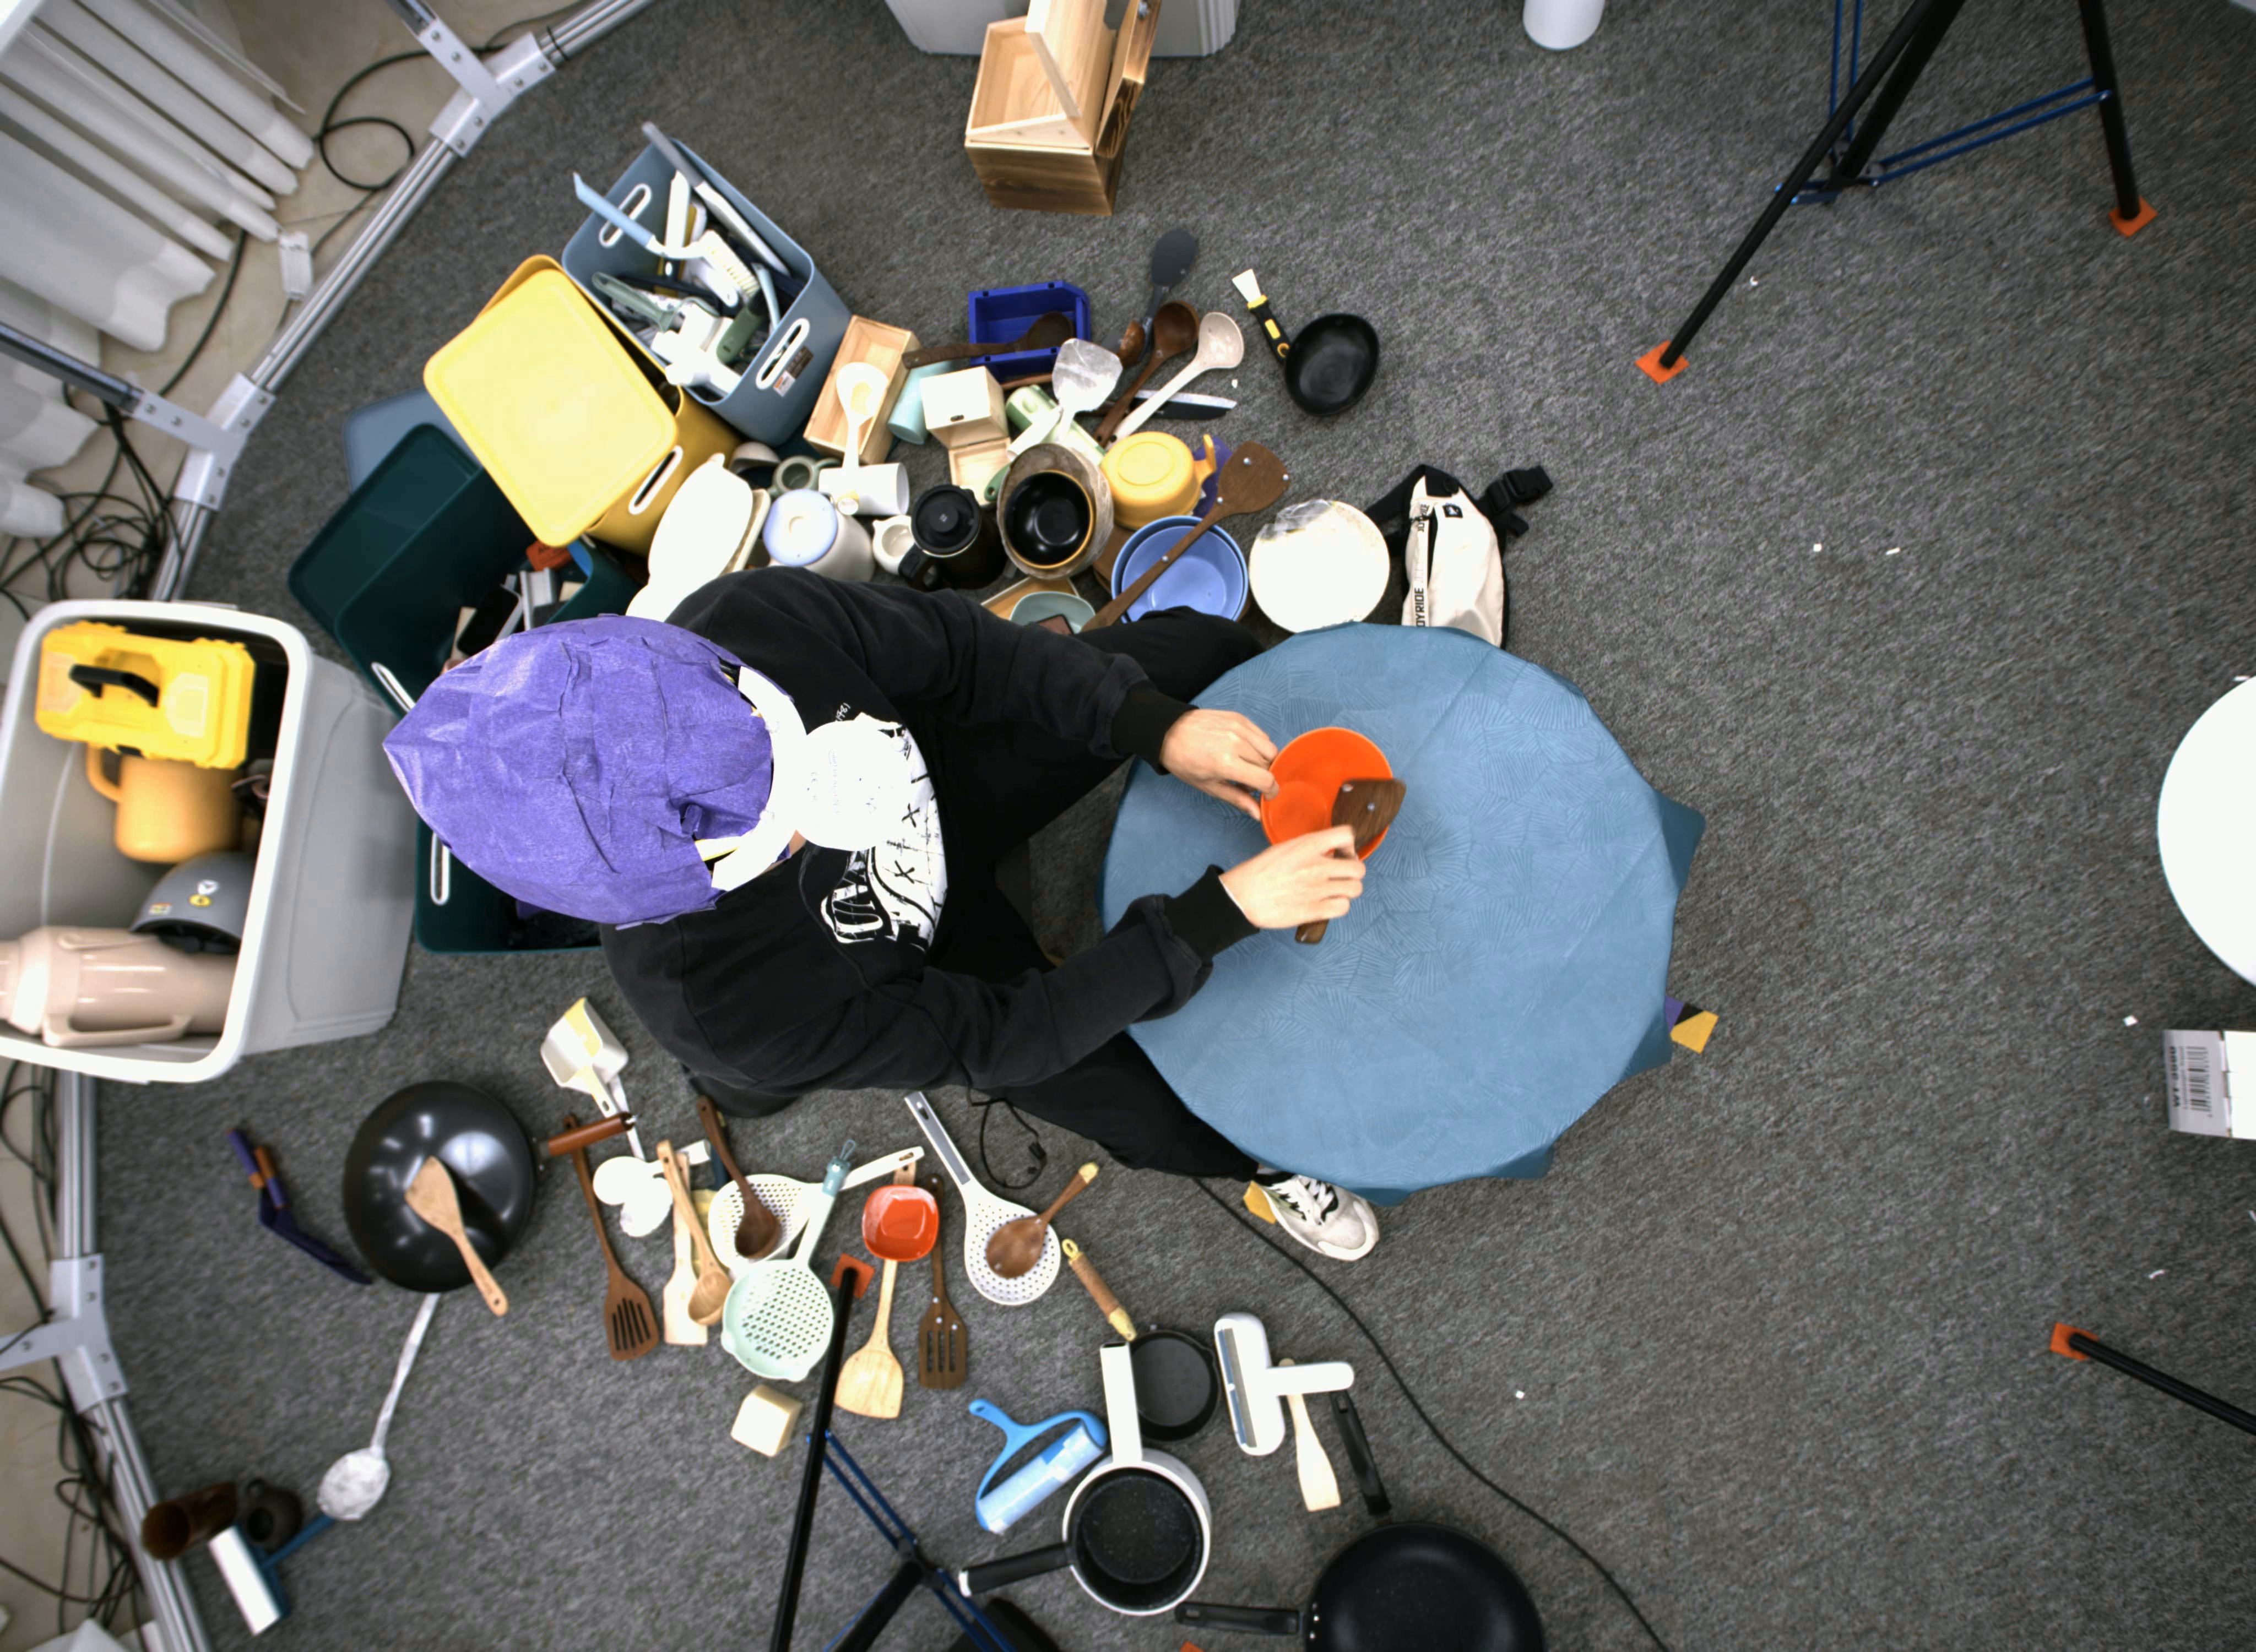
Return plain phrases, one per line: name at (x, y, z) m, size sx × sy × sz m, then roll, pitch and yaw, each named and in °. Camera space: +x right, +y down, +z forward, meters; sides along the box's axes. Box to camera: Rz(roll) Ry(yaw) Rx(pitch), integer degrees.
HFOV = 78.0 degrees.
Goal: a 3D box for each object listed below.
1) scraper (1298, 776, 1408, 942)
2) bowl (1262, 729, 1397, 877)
scraper at (0.213, 0.030, 1.360) m, size 0.076 × 0.011 × 0.206 m, roll 4°, pitch 52°, yaw 37°
bowl at (0.194, -0.022, 1.424) m, size 0.147 × 0.105 × 0.148 m, roll 0°, pitch 90°, yaw -15°
